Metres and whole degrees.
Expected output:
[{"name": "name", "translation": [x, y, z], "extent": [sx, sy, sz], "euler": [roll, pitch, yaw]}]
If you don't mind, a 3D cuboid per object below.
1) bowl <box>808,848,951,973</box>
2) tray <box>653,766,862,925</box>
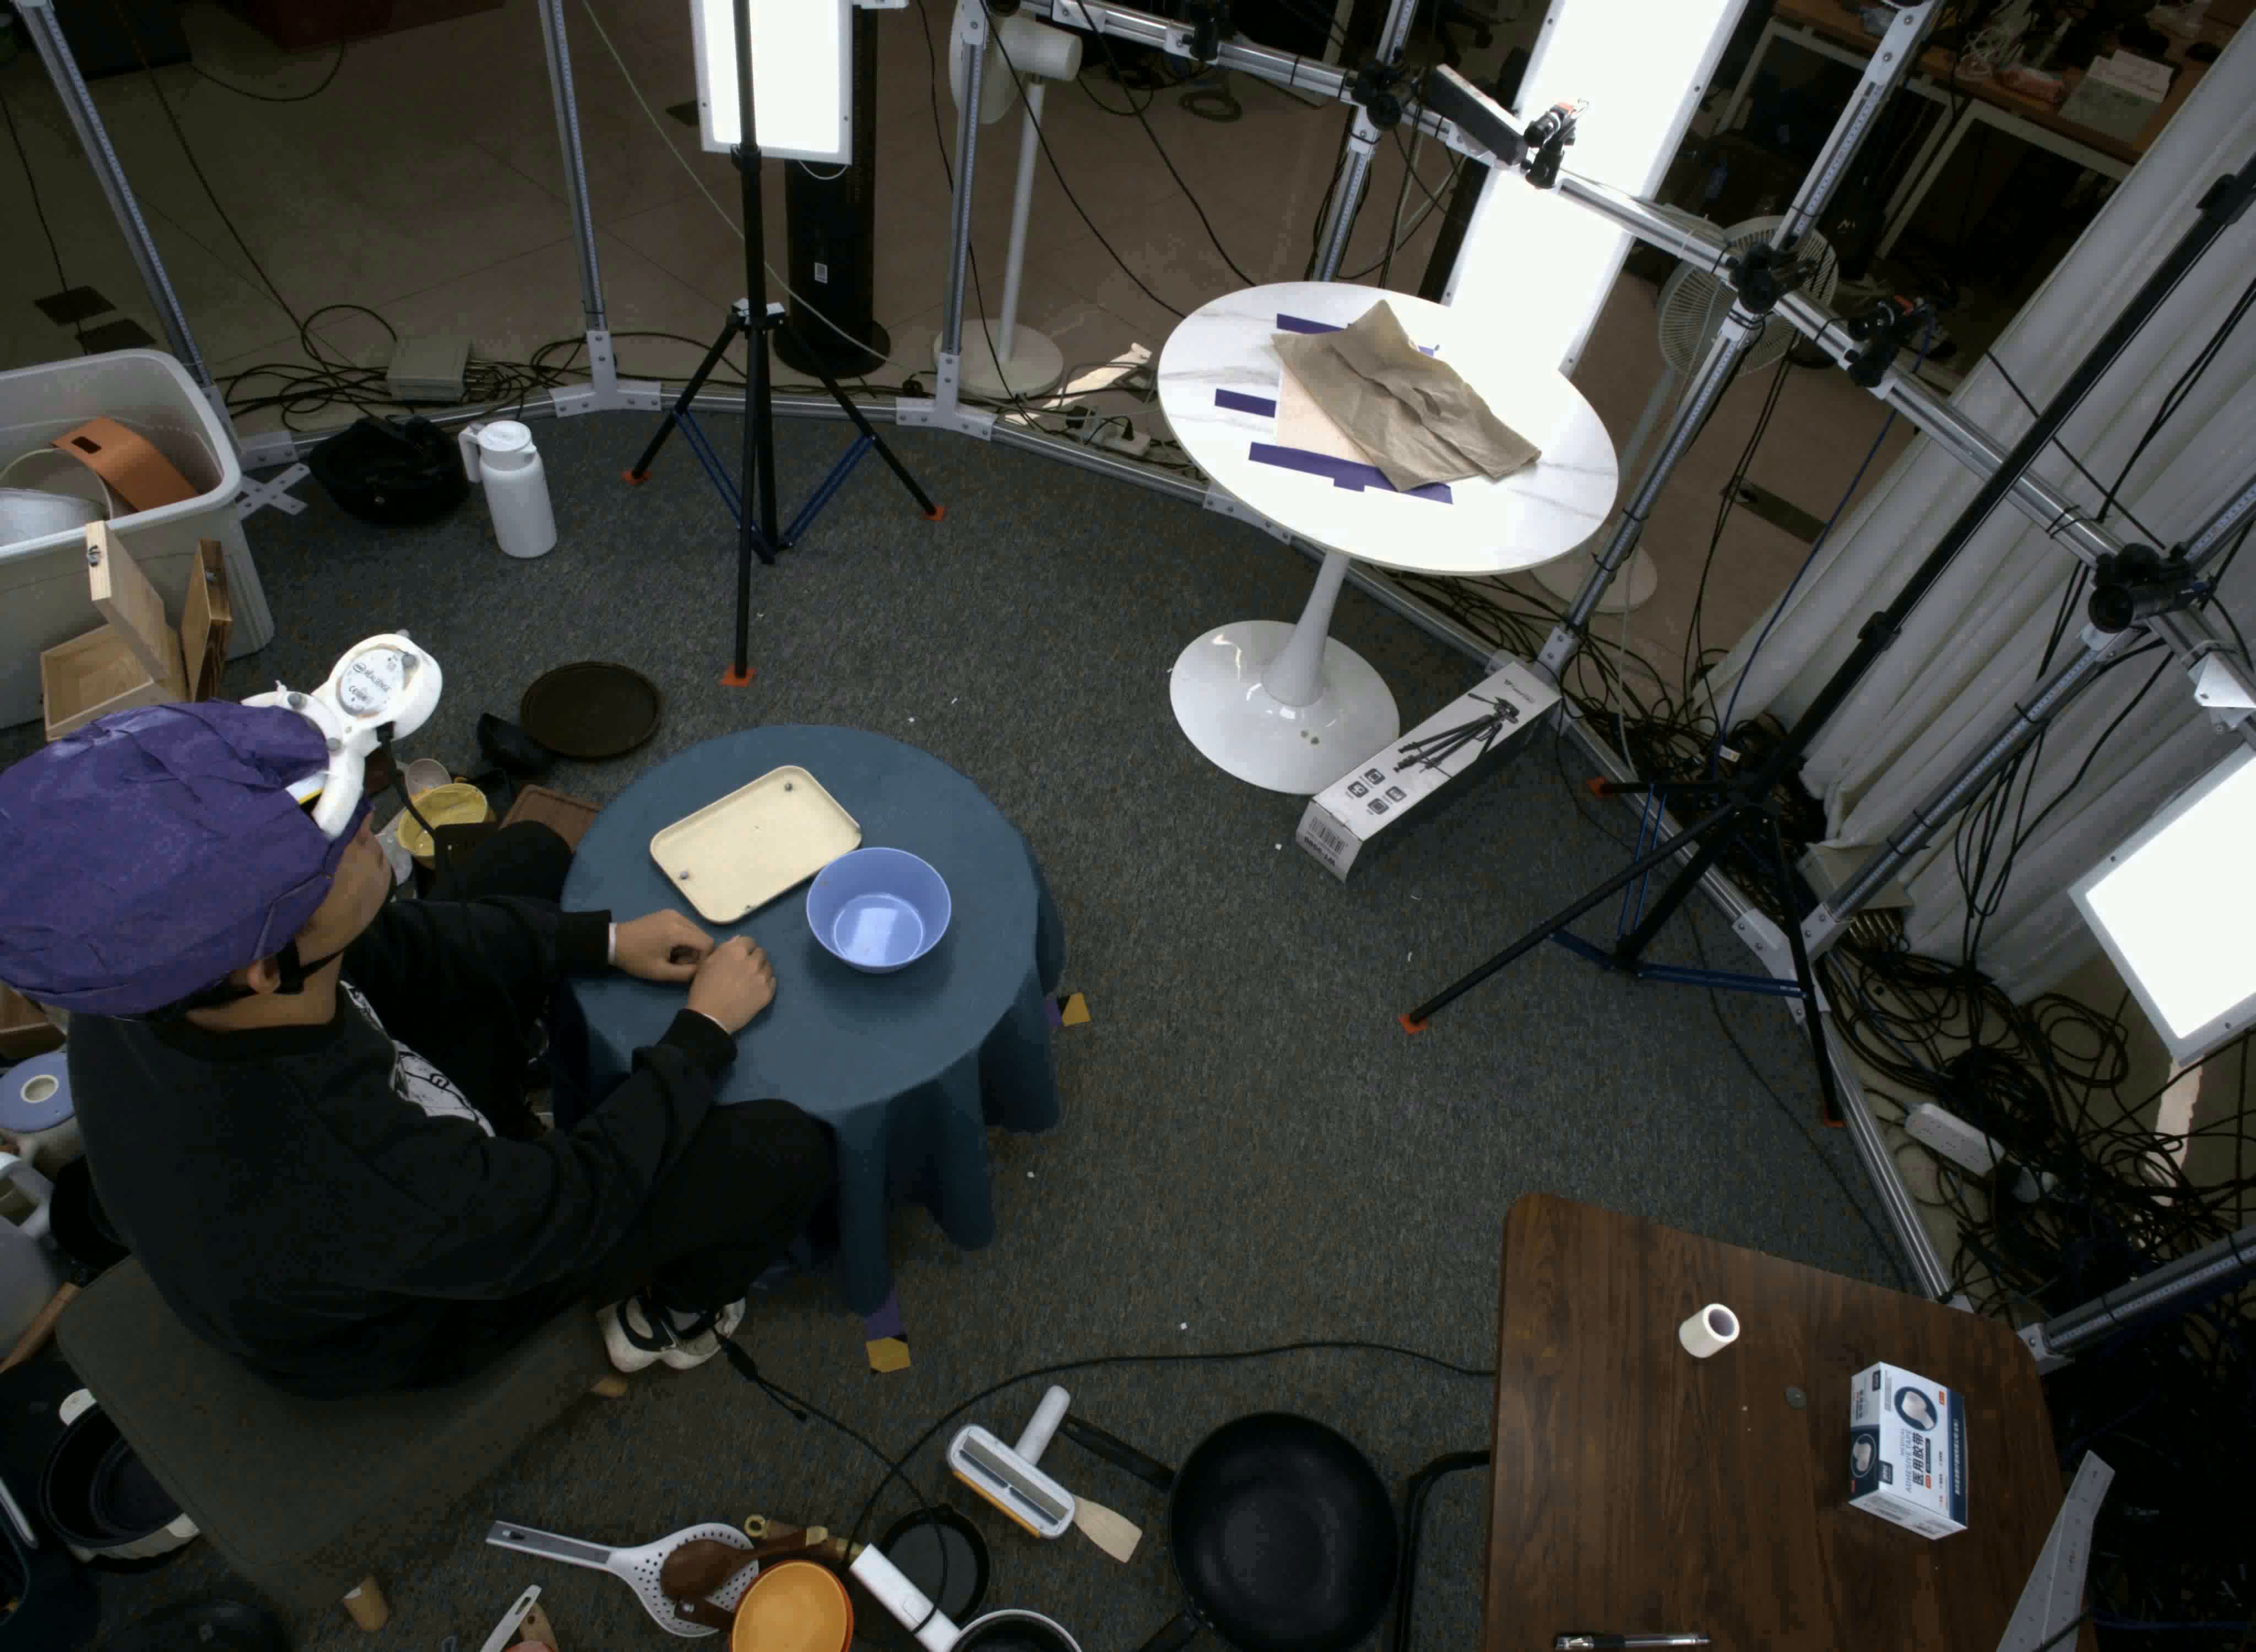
[{"name": "bowl", "translation": [-0.310, 0.115, 1.627], "extent": [0.175, 0.072, 0.173], "euler": [7, 52, -8]}, {"name": "tray", "translation": [-0.482, 0.022, 1.687], "extent": [0.240, 0.018, 0.167], "euler": [-34, 68, -32]}]
